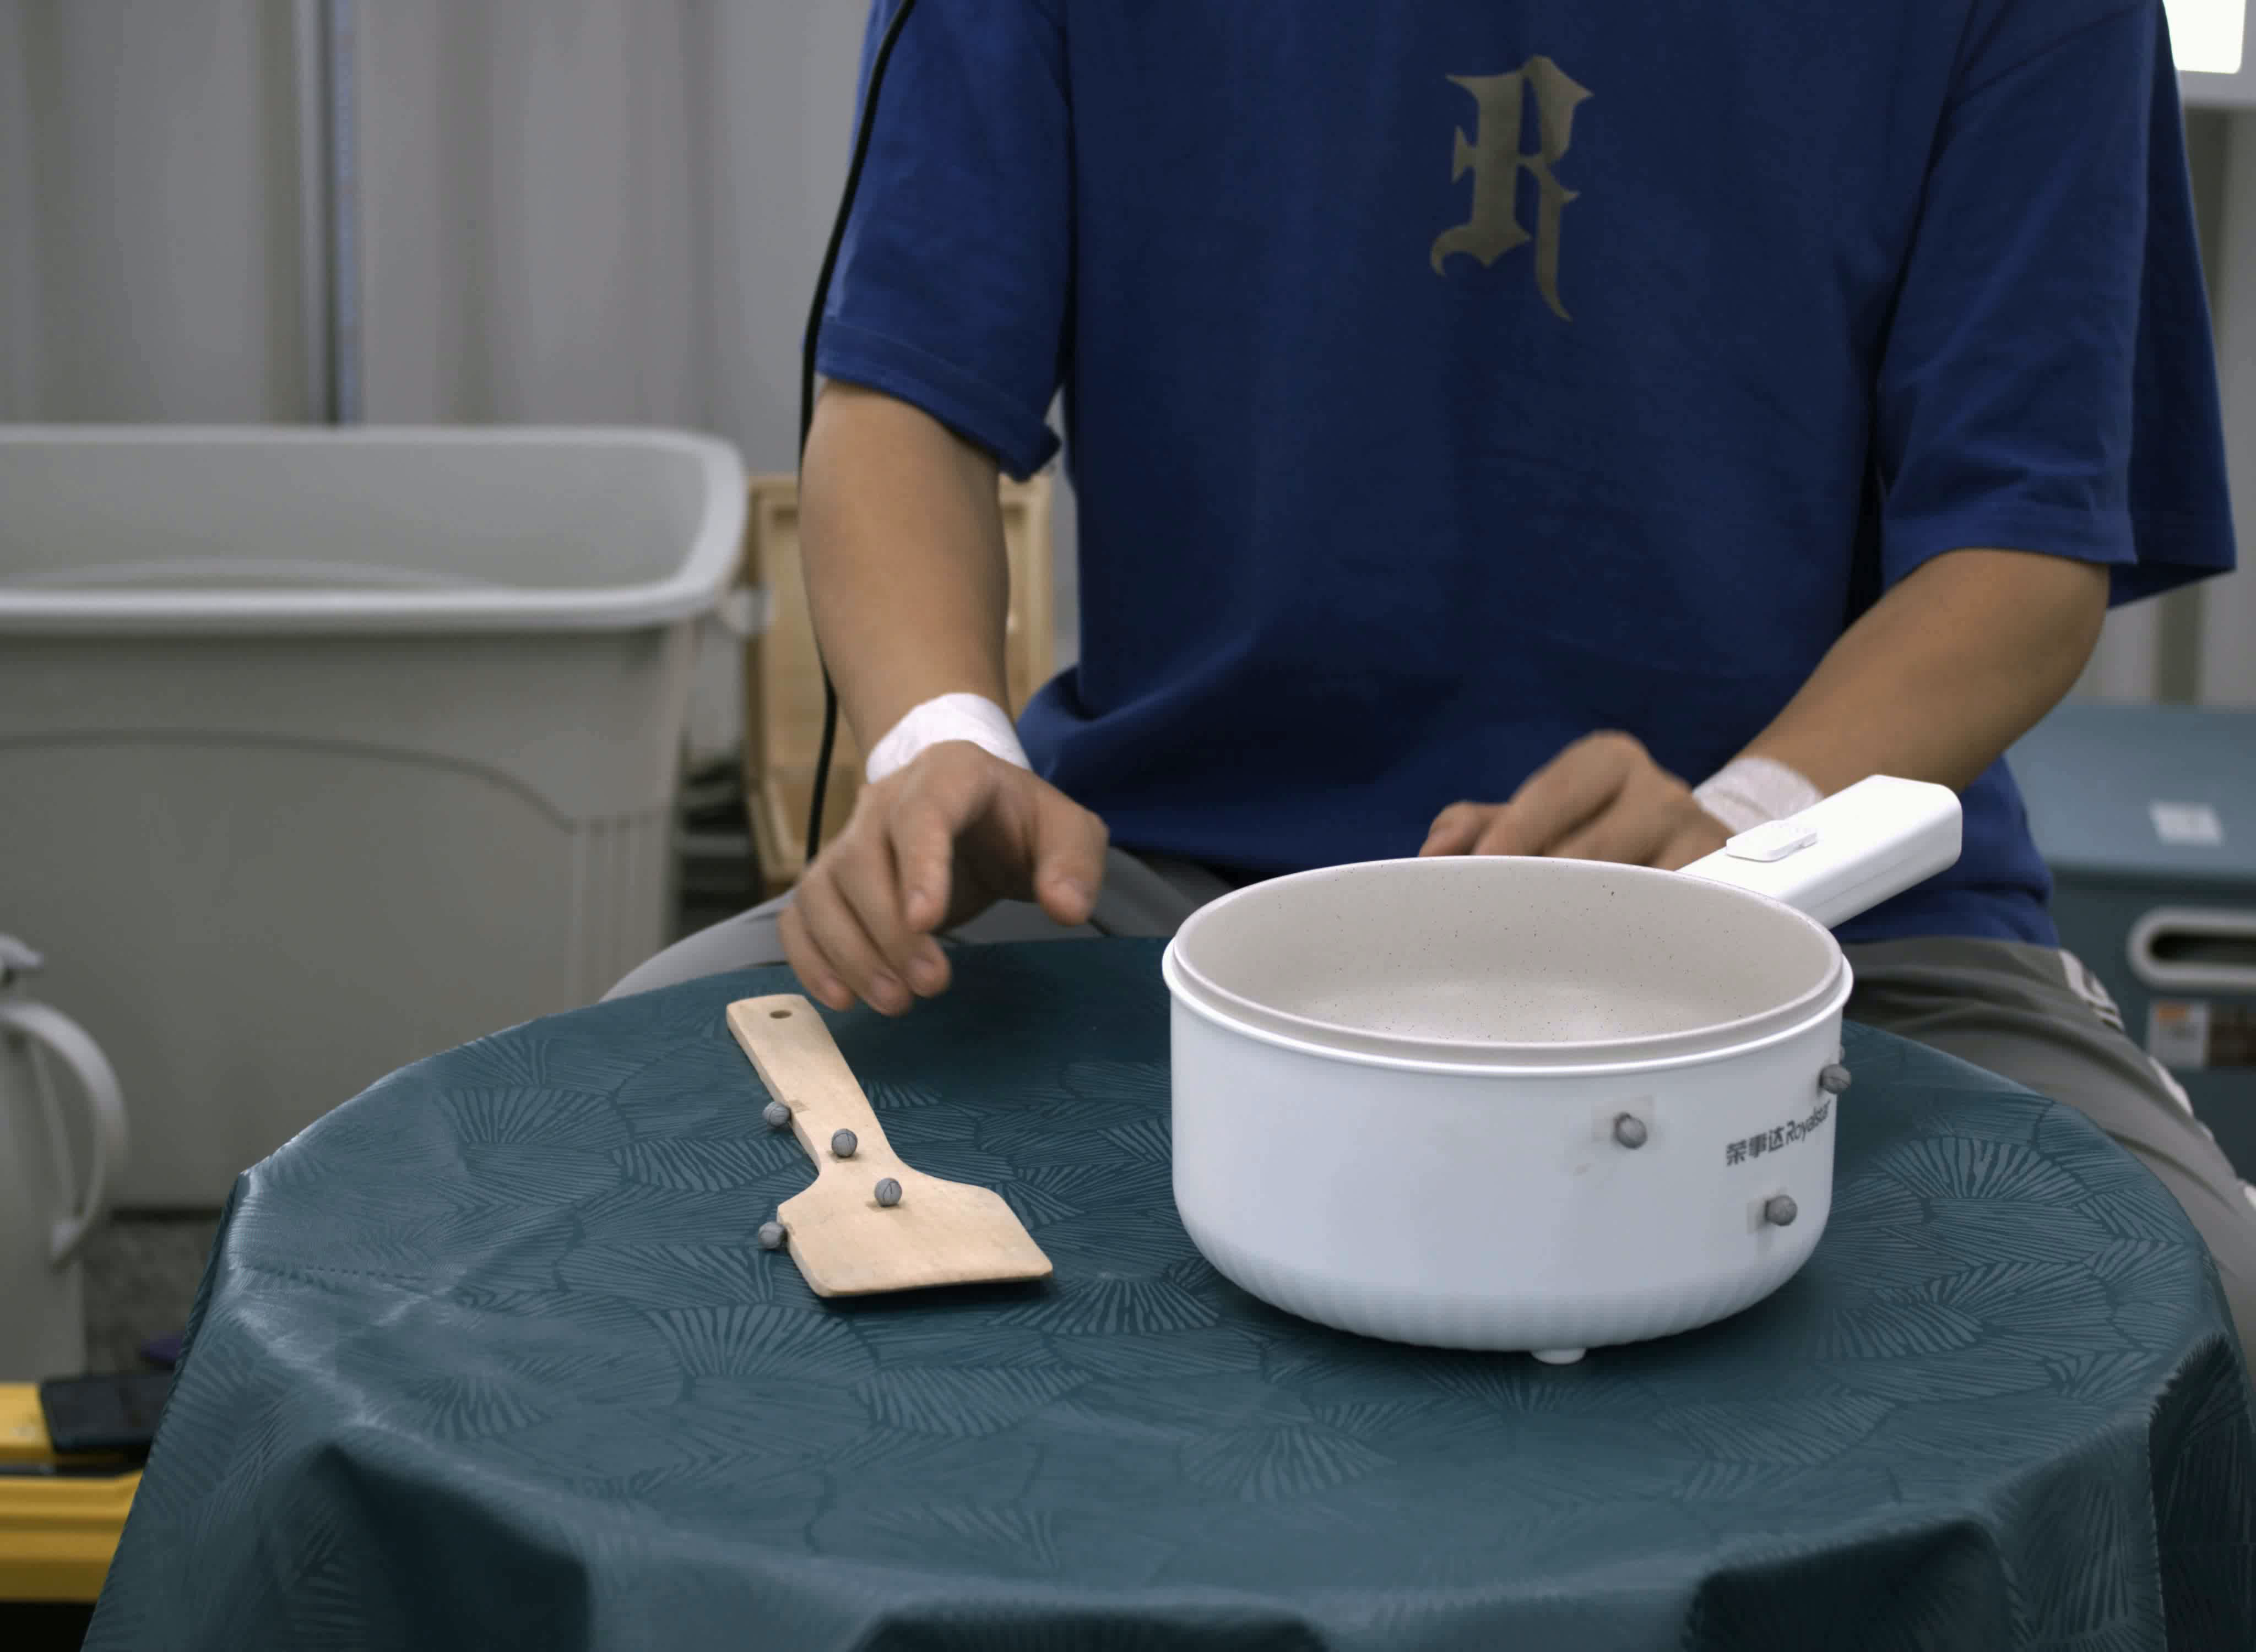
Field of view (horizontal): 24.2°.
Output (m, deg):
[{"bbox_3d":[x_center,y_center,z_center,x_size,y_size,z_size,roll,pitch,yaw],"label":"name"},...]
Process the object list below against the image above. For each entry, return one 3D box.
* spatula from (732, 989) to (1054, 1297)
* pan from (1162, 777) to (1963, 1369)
[{"bbox_3d":[-0.089,0.097,1.658,0.072,0.011,0.290,-4,16,-13],"label":"spatula"},{"bbox_3d":[0.155,0.068,1.606,0.199,0.103,0.356,9,17,34],"label":"pan"}]
